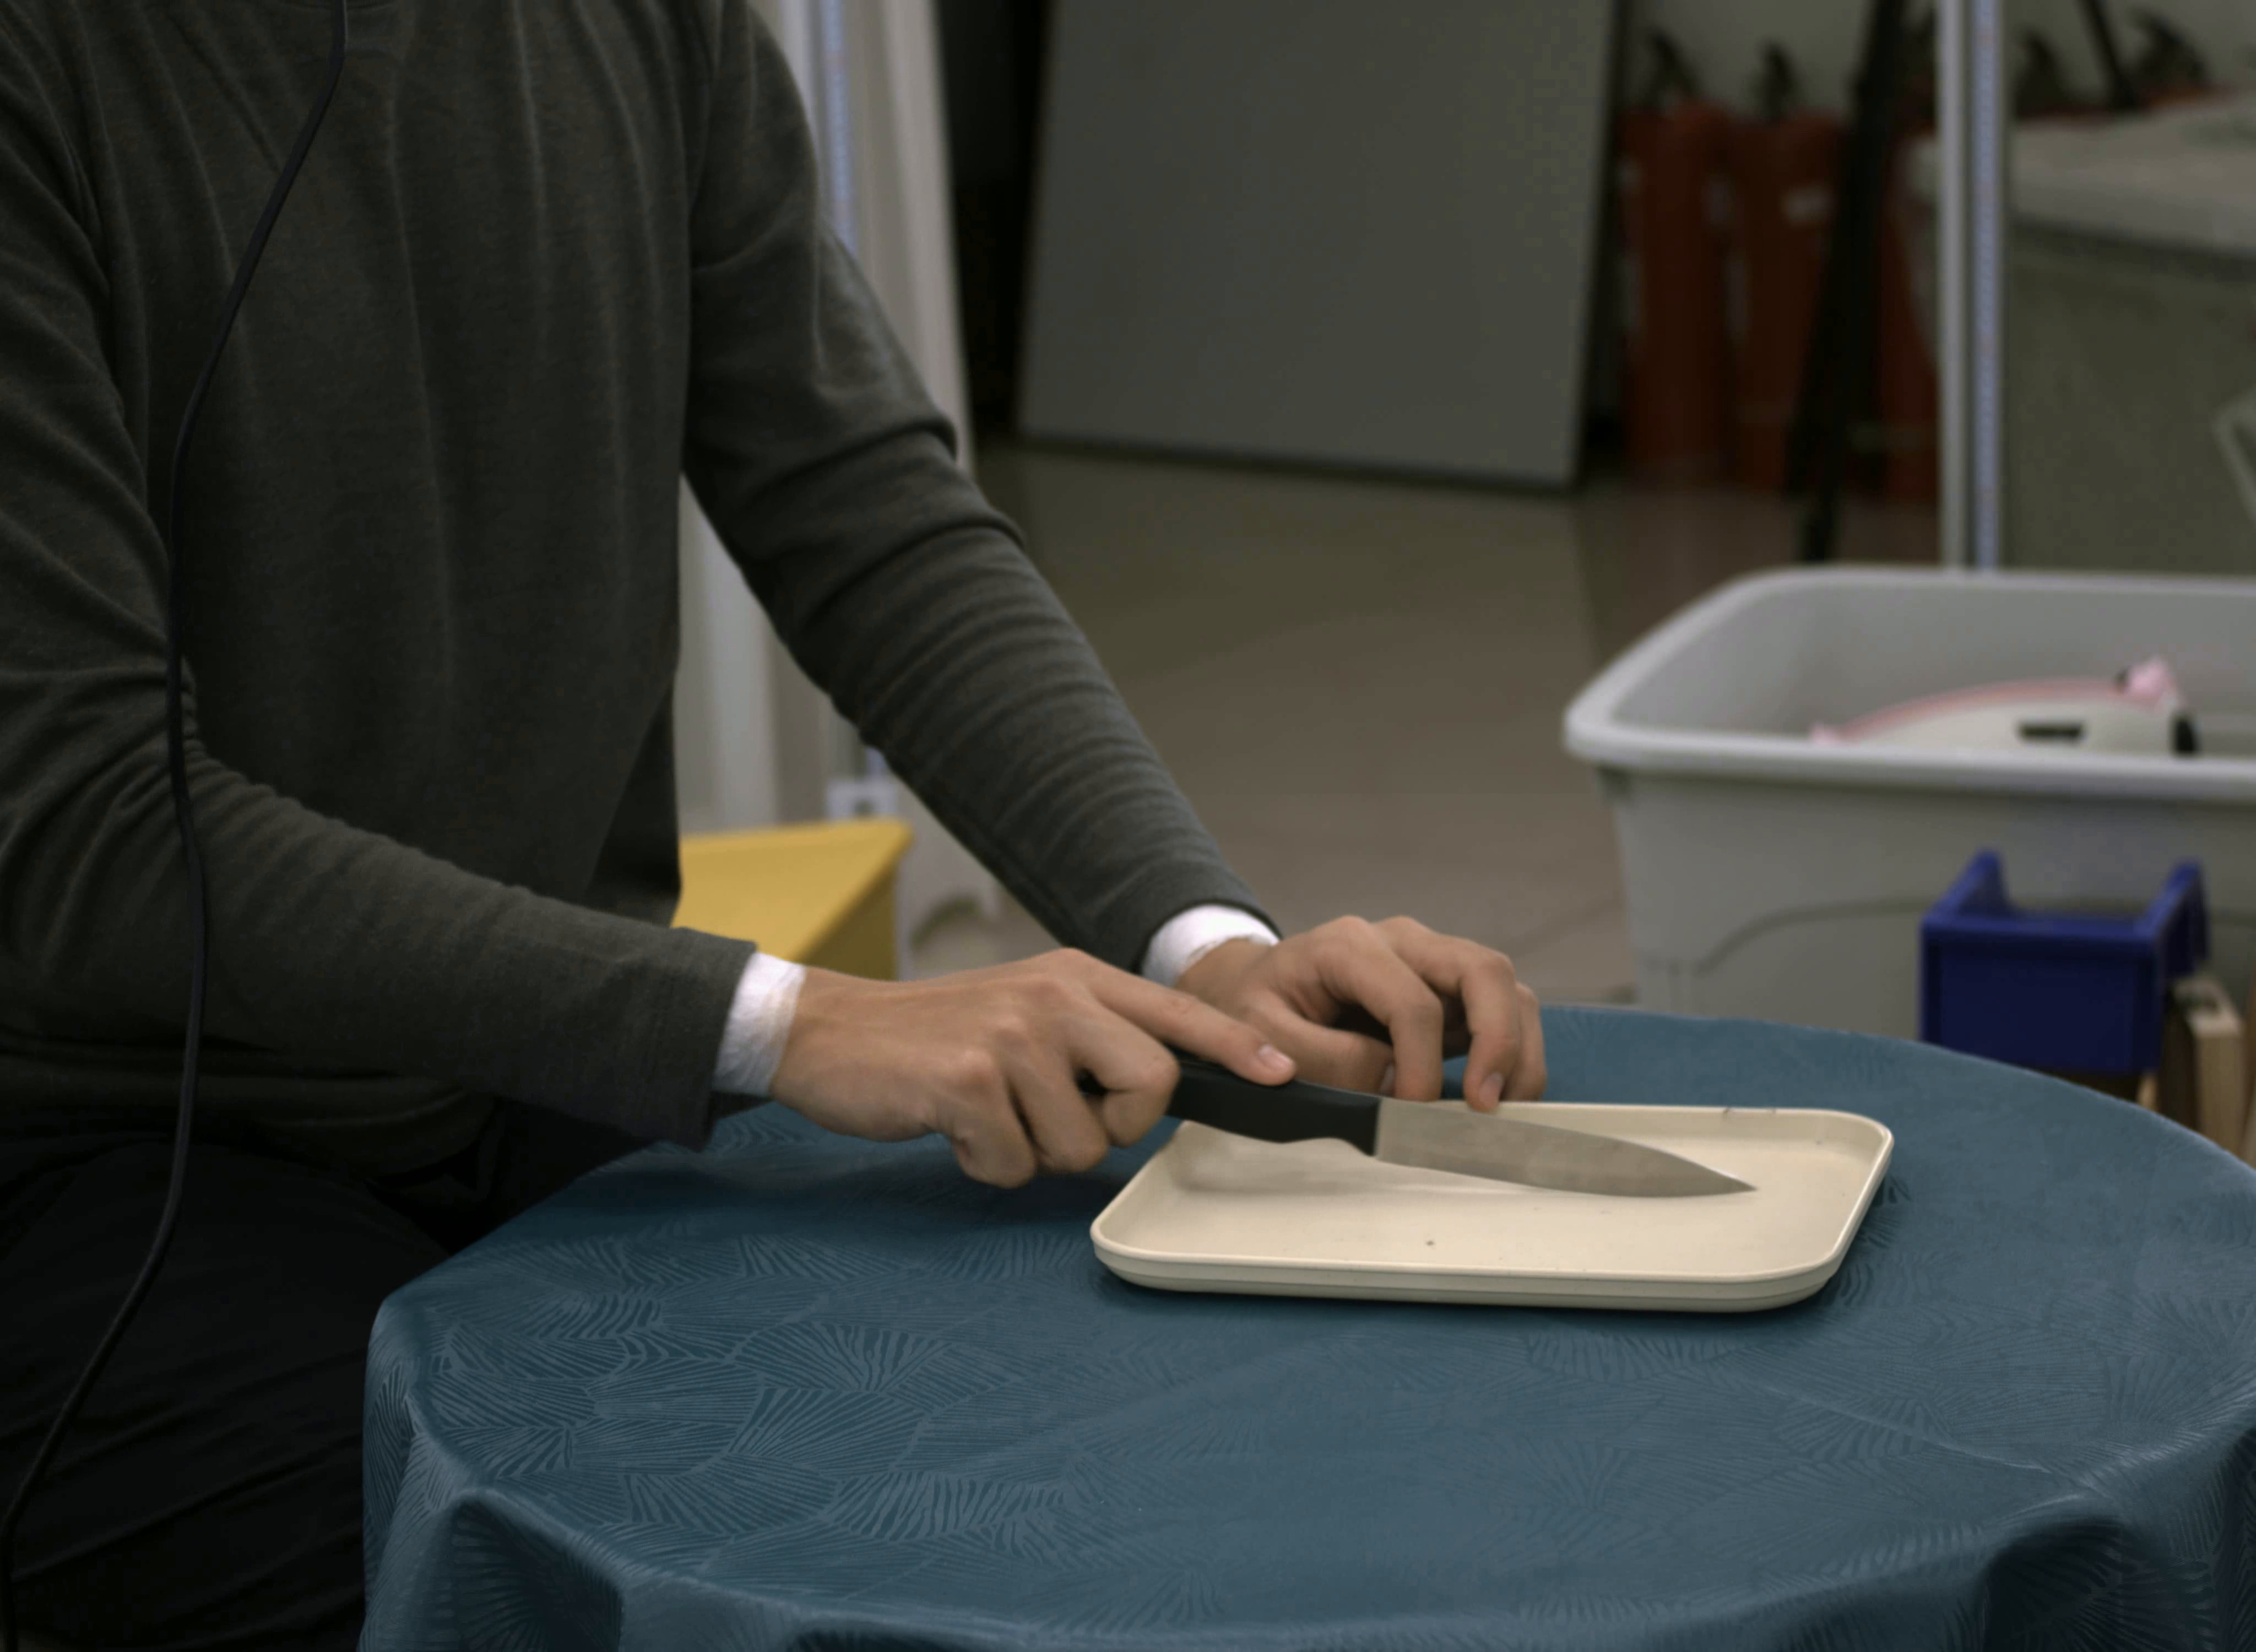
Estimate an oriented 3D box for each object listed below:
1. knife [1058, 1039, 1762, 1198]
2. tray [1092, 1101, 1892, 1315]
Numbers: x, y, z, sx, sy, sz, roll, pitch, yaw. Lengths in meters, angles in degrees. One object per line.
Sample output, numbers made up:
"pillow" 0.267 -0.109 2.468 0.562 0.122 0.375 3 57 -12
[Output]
"knife" 0.091 0.097 1.740 0.237 0.025 0.016 10 13 16
"tray" 0.117 0.120 1.708 0.239 0.017 0.170 0 15 18
